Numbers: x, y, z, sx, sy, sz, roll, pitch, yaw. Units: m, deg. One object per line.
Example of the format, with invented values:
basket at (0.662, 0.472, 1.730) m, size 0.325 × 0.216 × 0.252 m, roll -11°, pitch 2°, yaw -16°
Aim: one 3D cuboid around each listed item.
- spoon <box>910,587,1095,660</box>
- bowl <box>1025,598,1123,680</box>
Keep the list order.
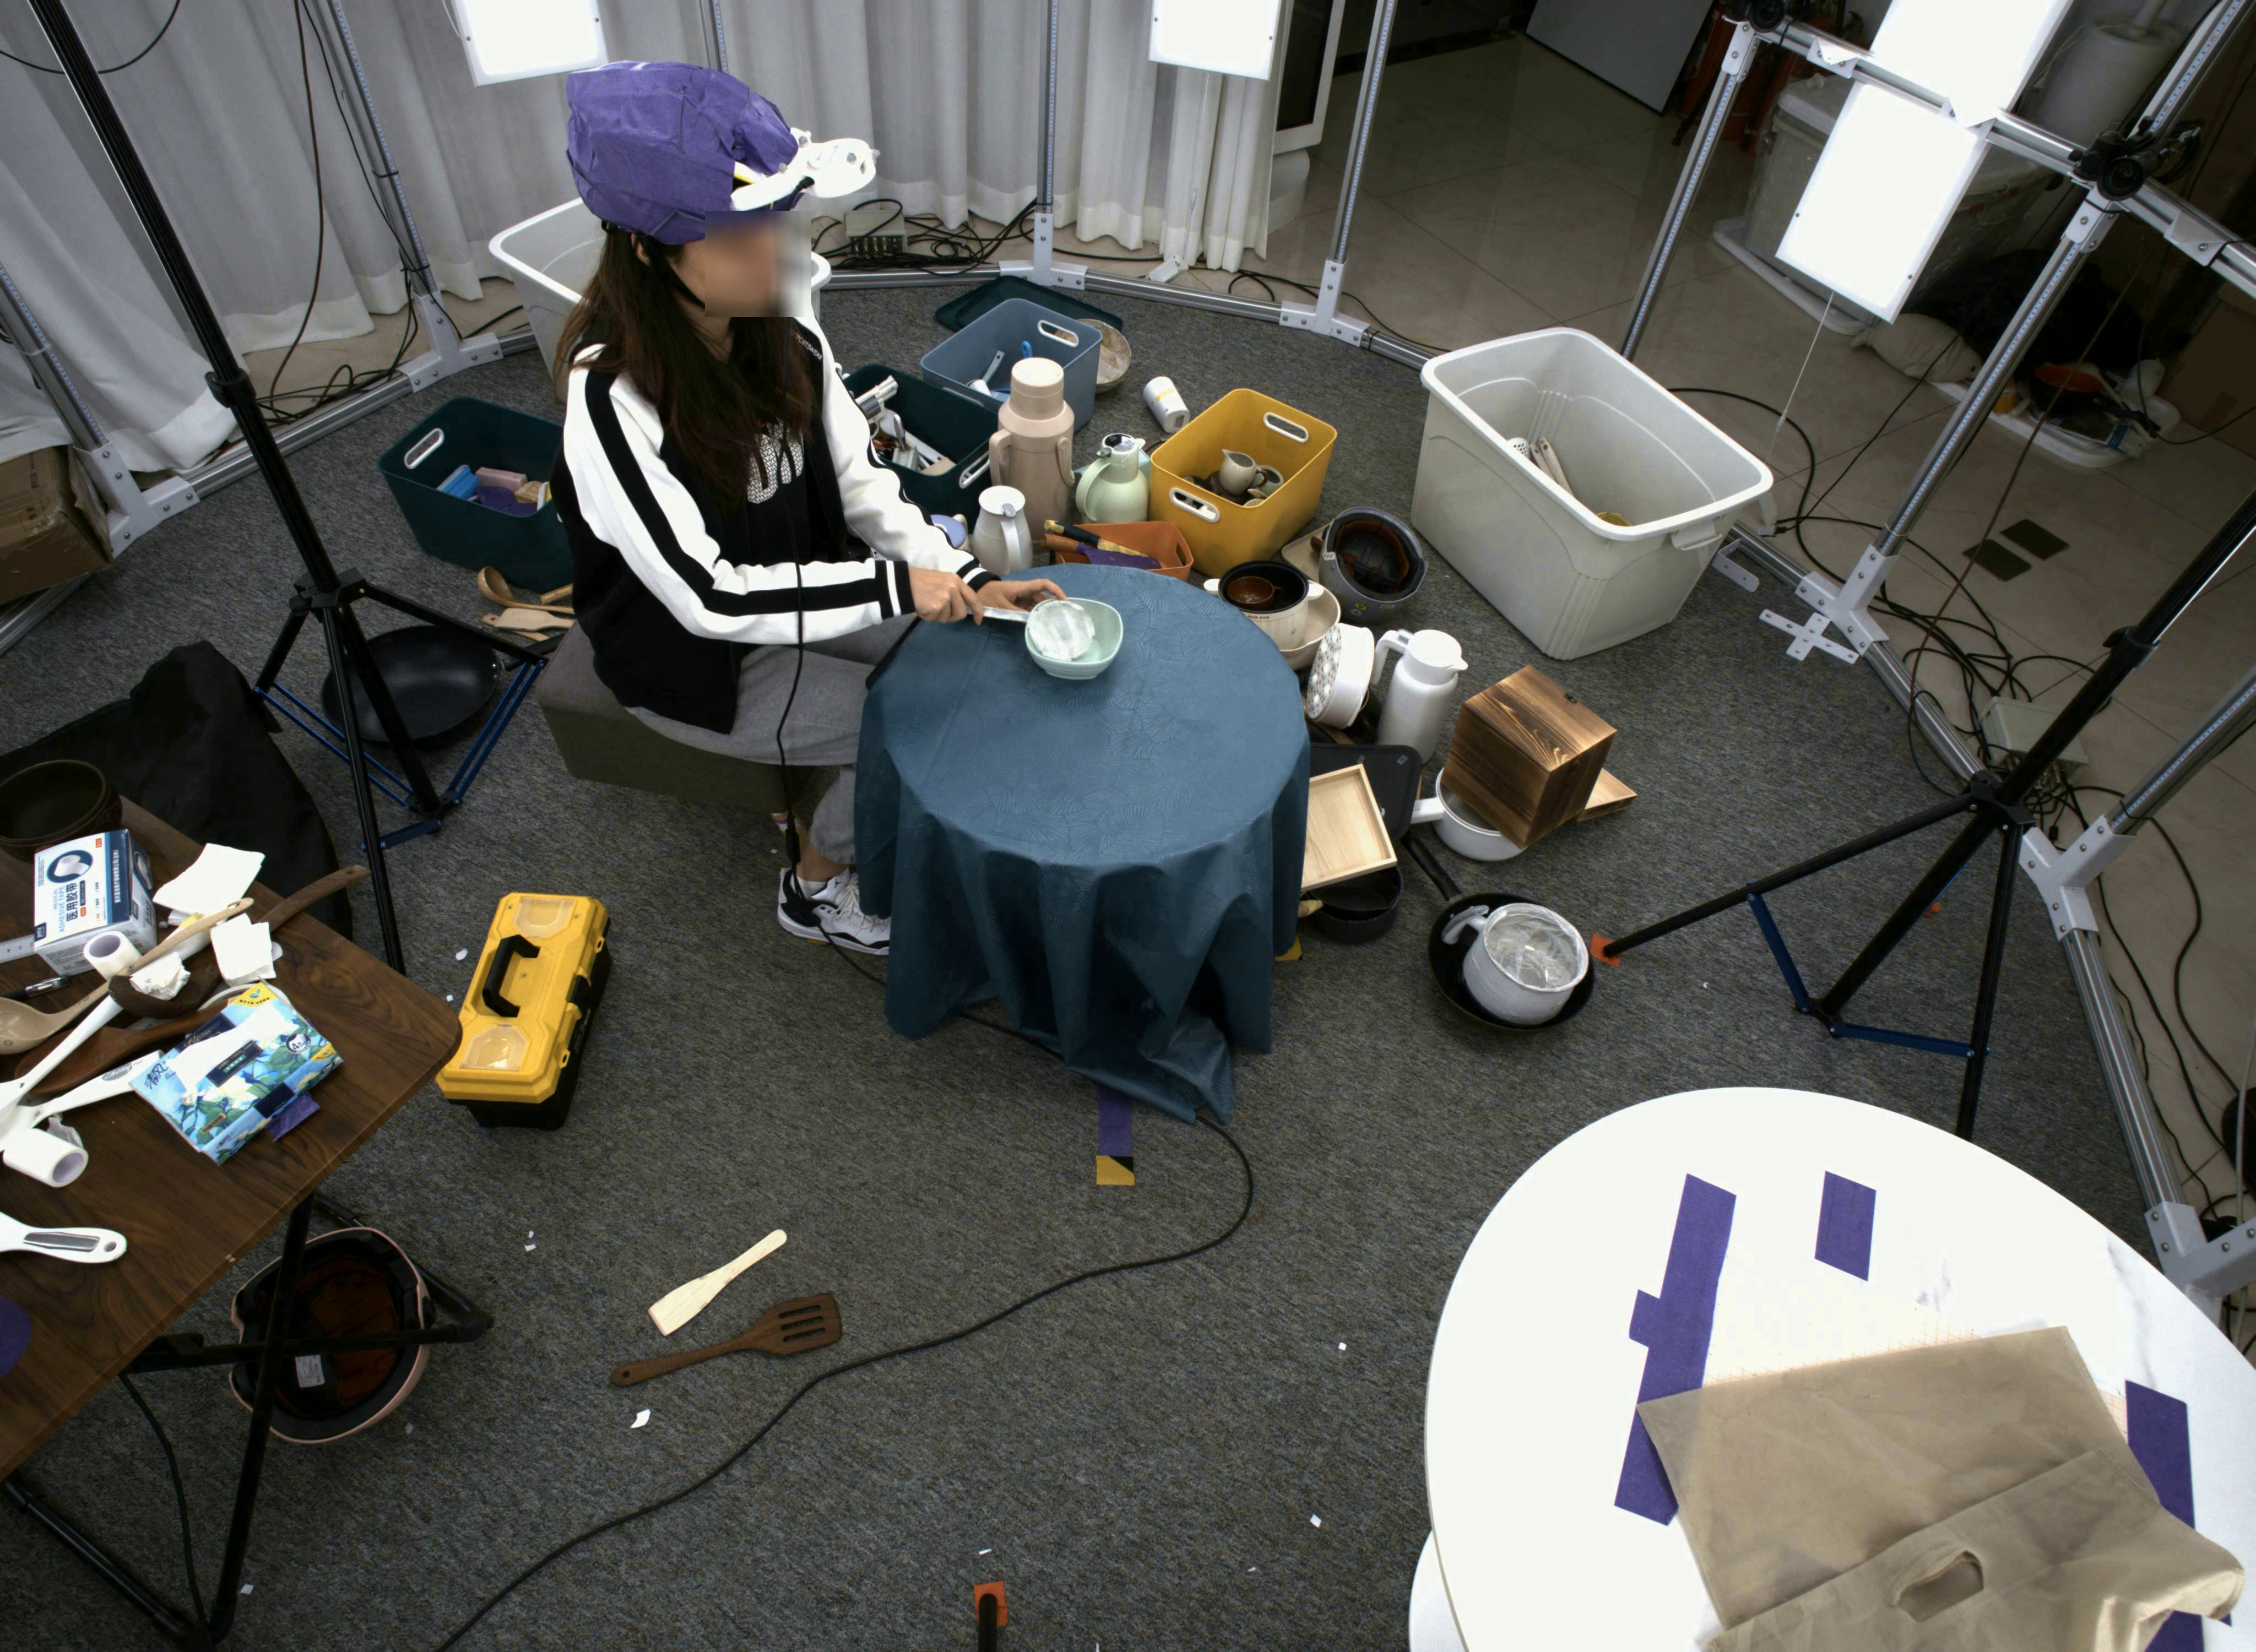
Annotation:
spoon at (-0.167, -0.290, 1.774) m, size 0.275 × 0.099 × 0.060 m, roll 4°, pitch 34°, yaw -41°
bowl at (-0.078, -0.261, 1.857) m, size 0.151 × 0.057 × 0.155 m, roll 2°, pitch 50°, yaw -2°
